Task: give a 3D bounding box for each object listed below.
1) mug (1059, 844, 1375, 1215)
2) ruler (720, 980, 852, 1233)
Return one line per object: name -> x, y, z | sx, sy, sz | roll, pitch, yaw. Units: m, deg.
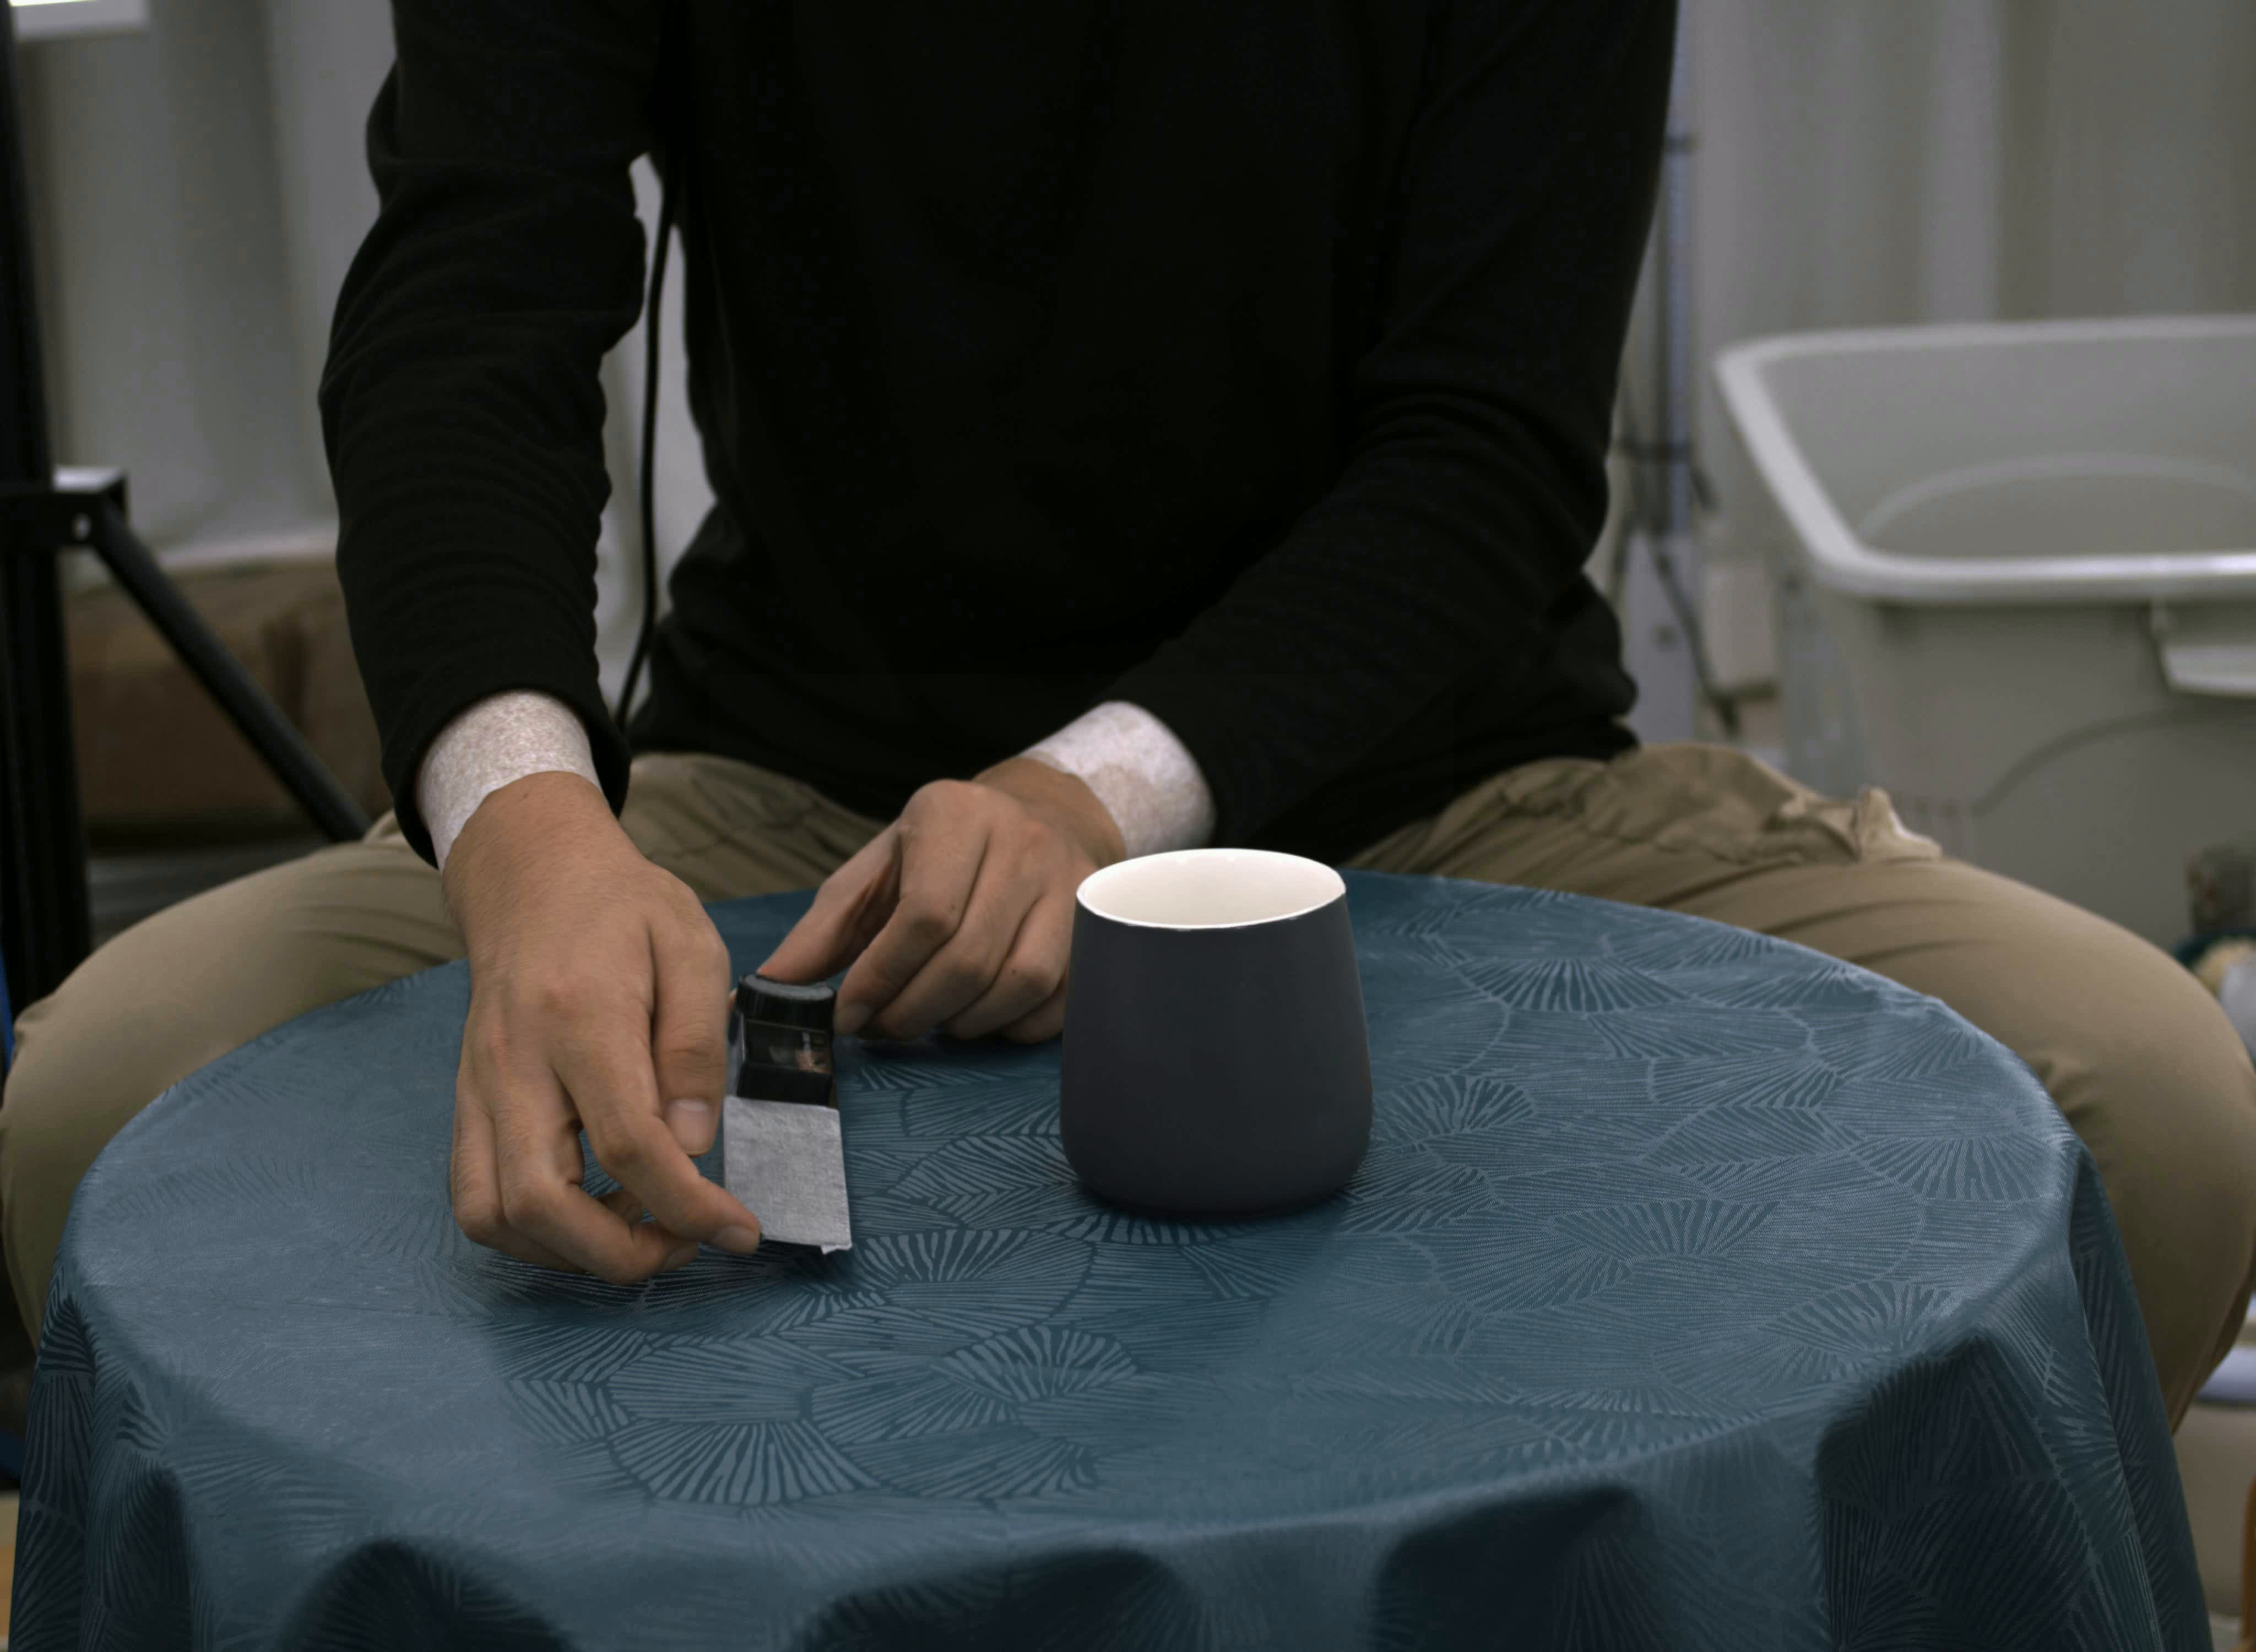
mug -> 0.027, 0.055, 1.568 | 0.093, 0.090, 0.123 | 0, 17, 5
ruler -> -0.103, 0.082, 1.595 | 0.038, 0.024, 0.219 | 4, 11, -5
